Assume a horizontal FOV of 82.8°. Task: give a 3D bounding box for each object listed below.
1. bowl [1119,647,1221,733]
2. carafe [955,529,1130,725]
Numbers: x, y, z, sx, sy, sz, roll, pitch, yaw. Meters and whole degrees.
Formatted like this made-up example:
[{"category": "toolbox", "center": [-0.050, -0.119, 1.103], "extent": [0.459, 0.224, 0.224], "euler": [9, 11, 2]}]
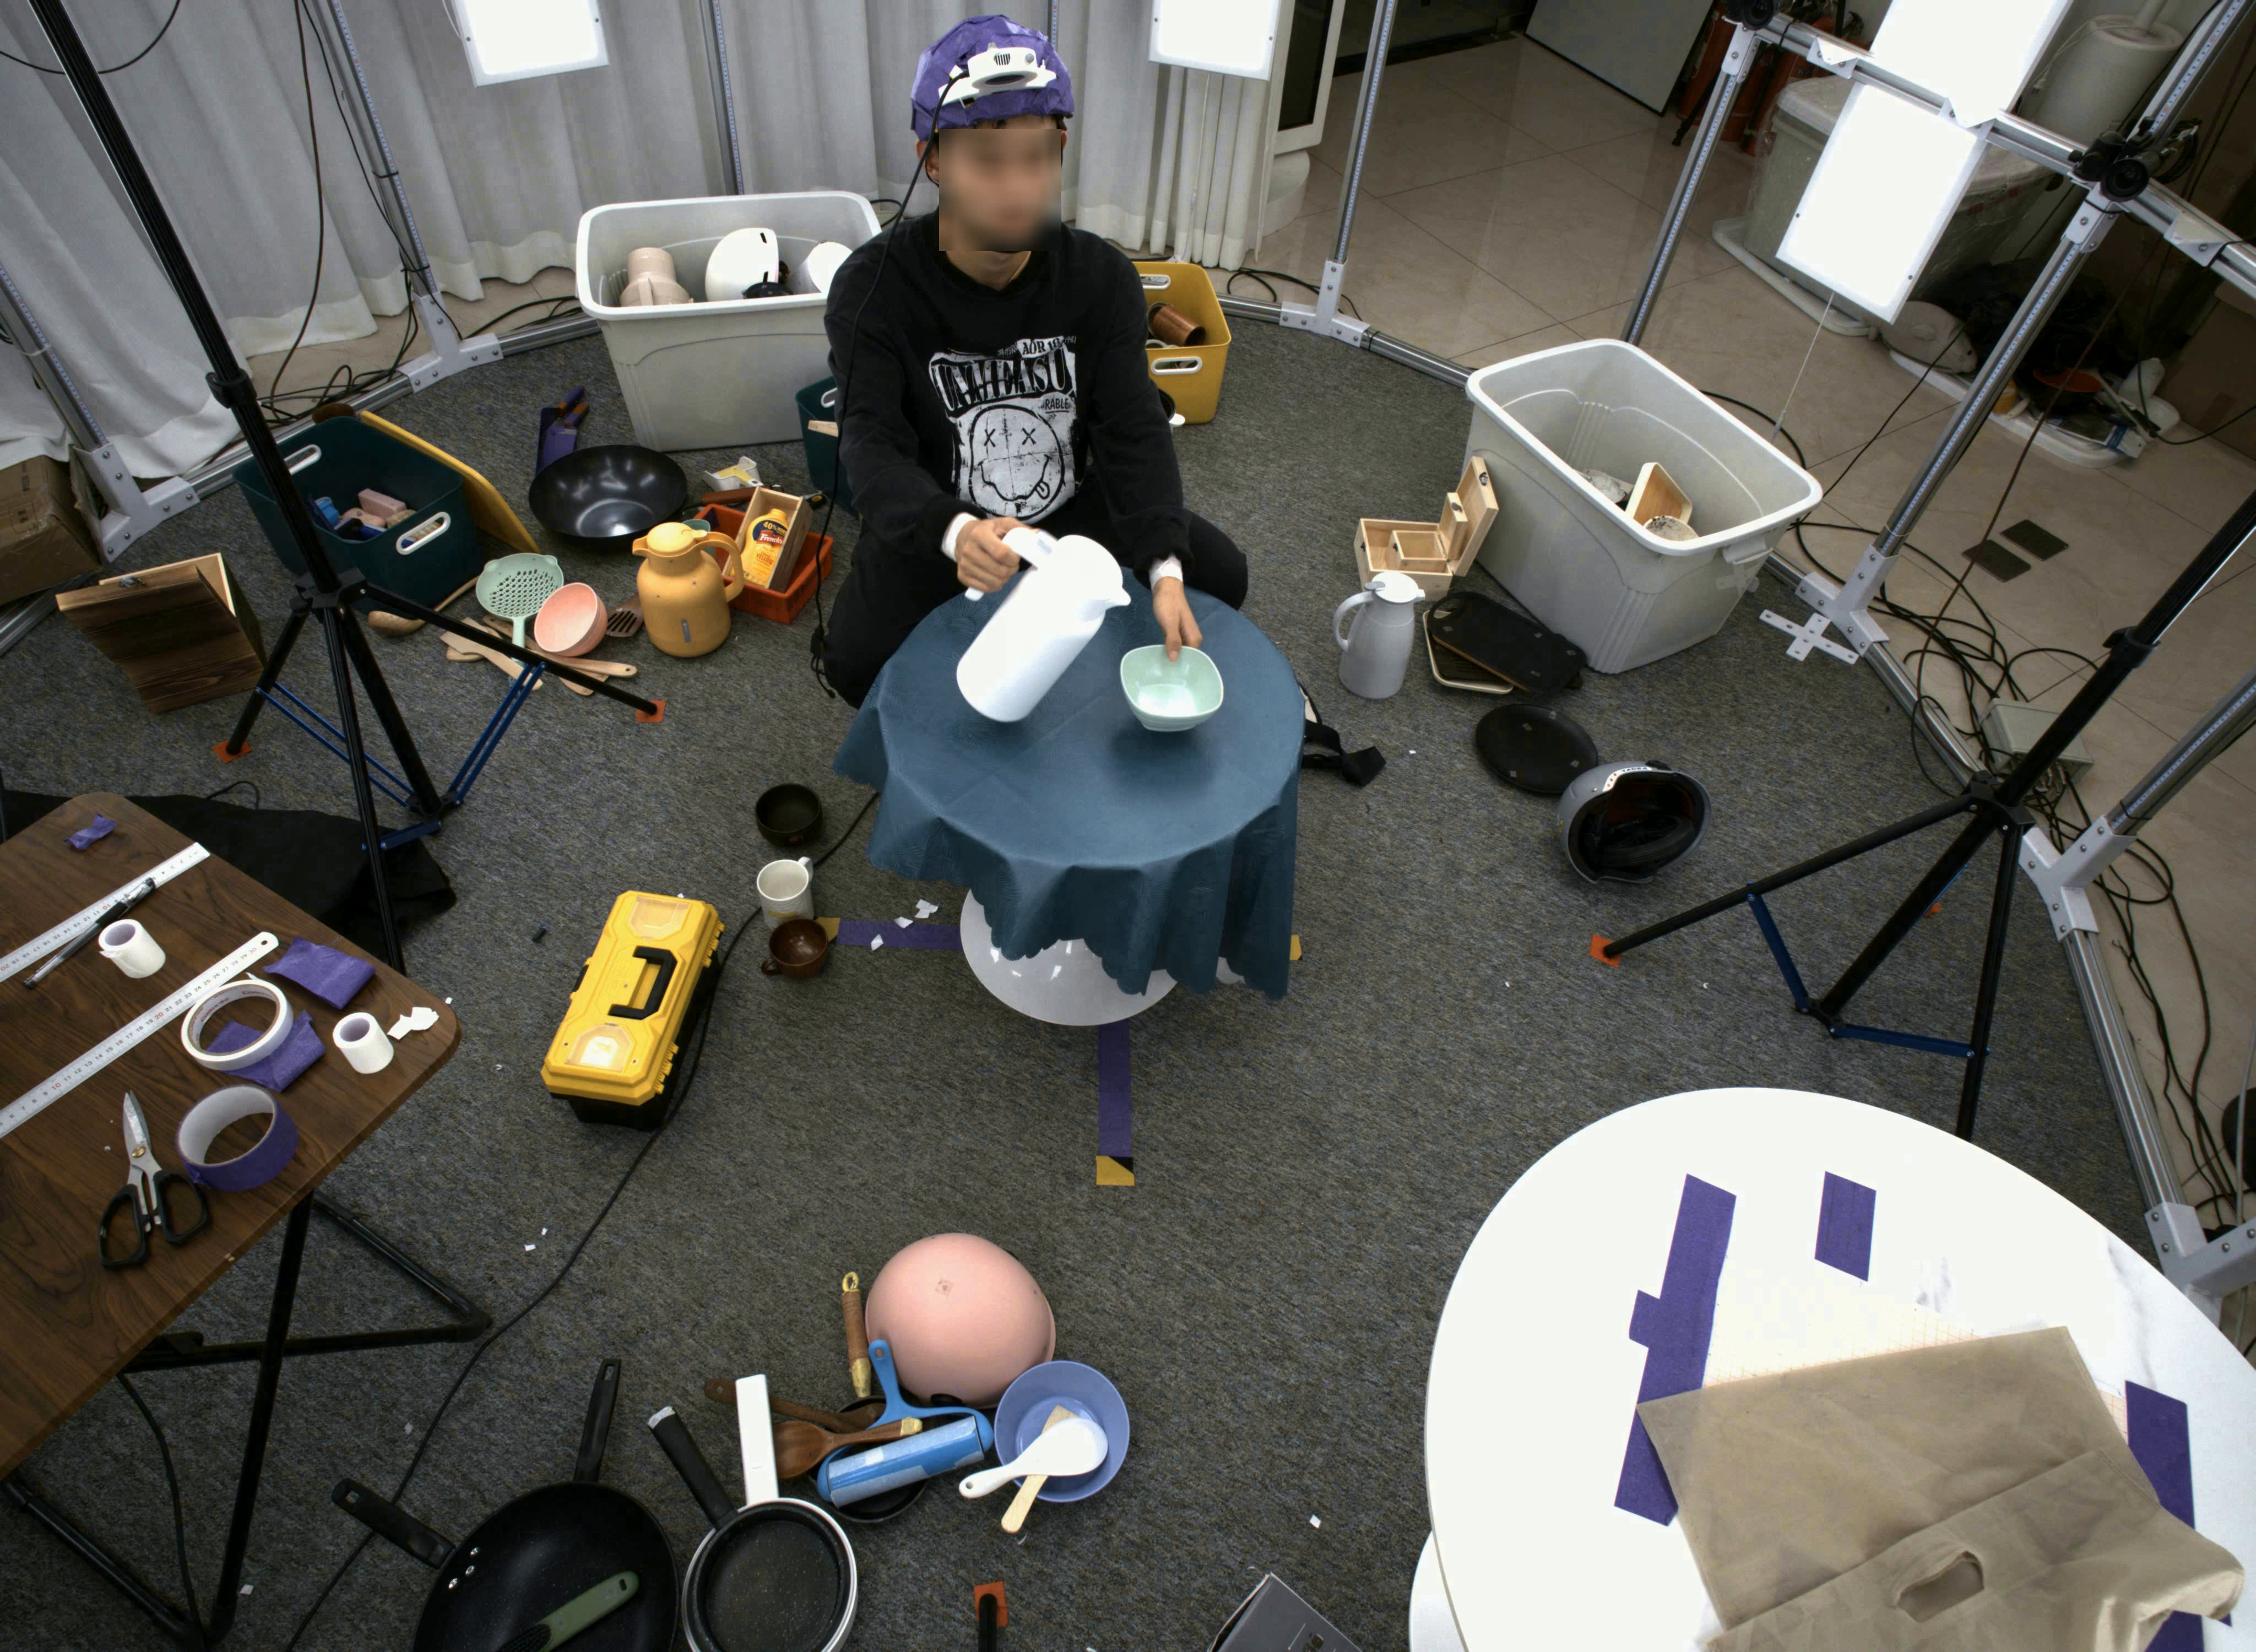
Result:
[{"category": "bowl", "center": [0.054, -0.177, 1.753], "extent": [0.151, 0.057, 0.155], "euler": [5, 49, -5]}, {"category": "carafe", "center": [-0.132, -0.256, 1.647], "extent": [0.171, 0.265, 0.126], "euler": [32, 48, -12]}]
